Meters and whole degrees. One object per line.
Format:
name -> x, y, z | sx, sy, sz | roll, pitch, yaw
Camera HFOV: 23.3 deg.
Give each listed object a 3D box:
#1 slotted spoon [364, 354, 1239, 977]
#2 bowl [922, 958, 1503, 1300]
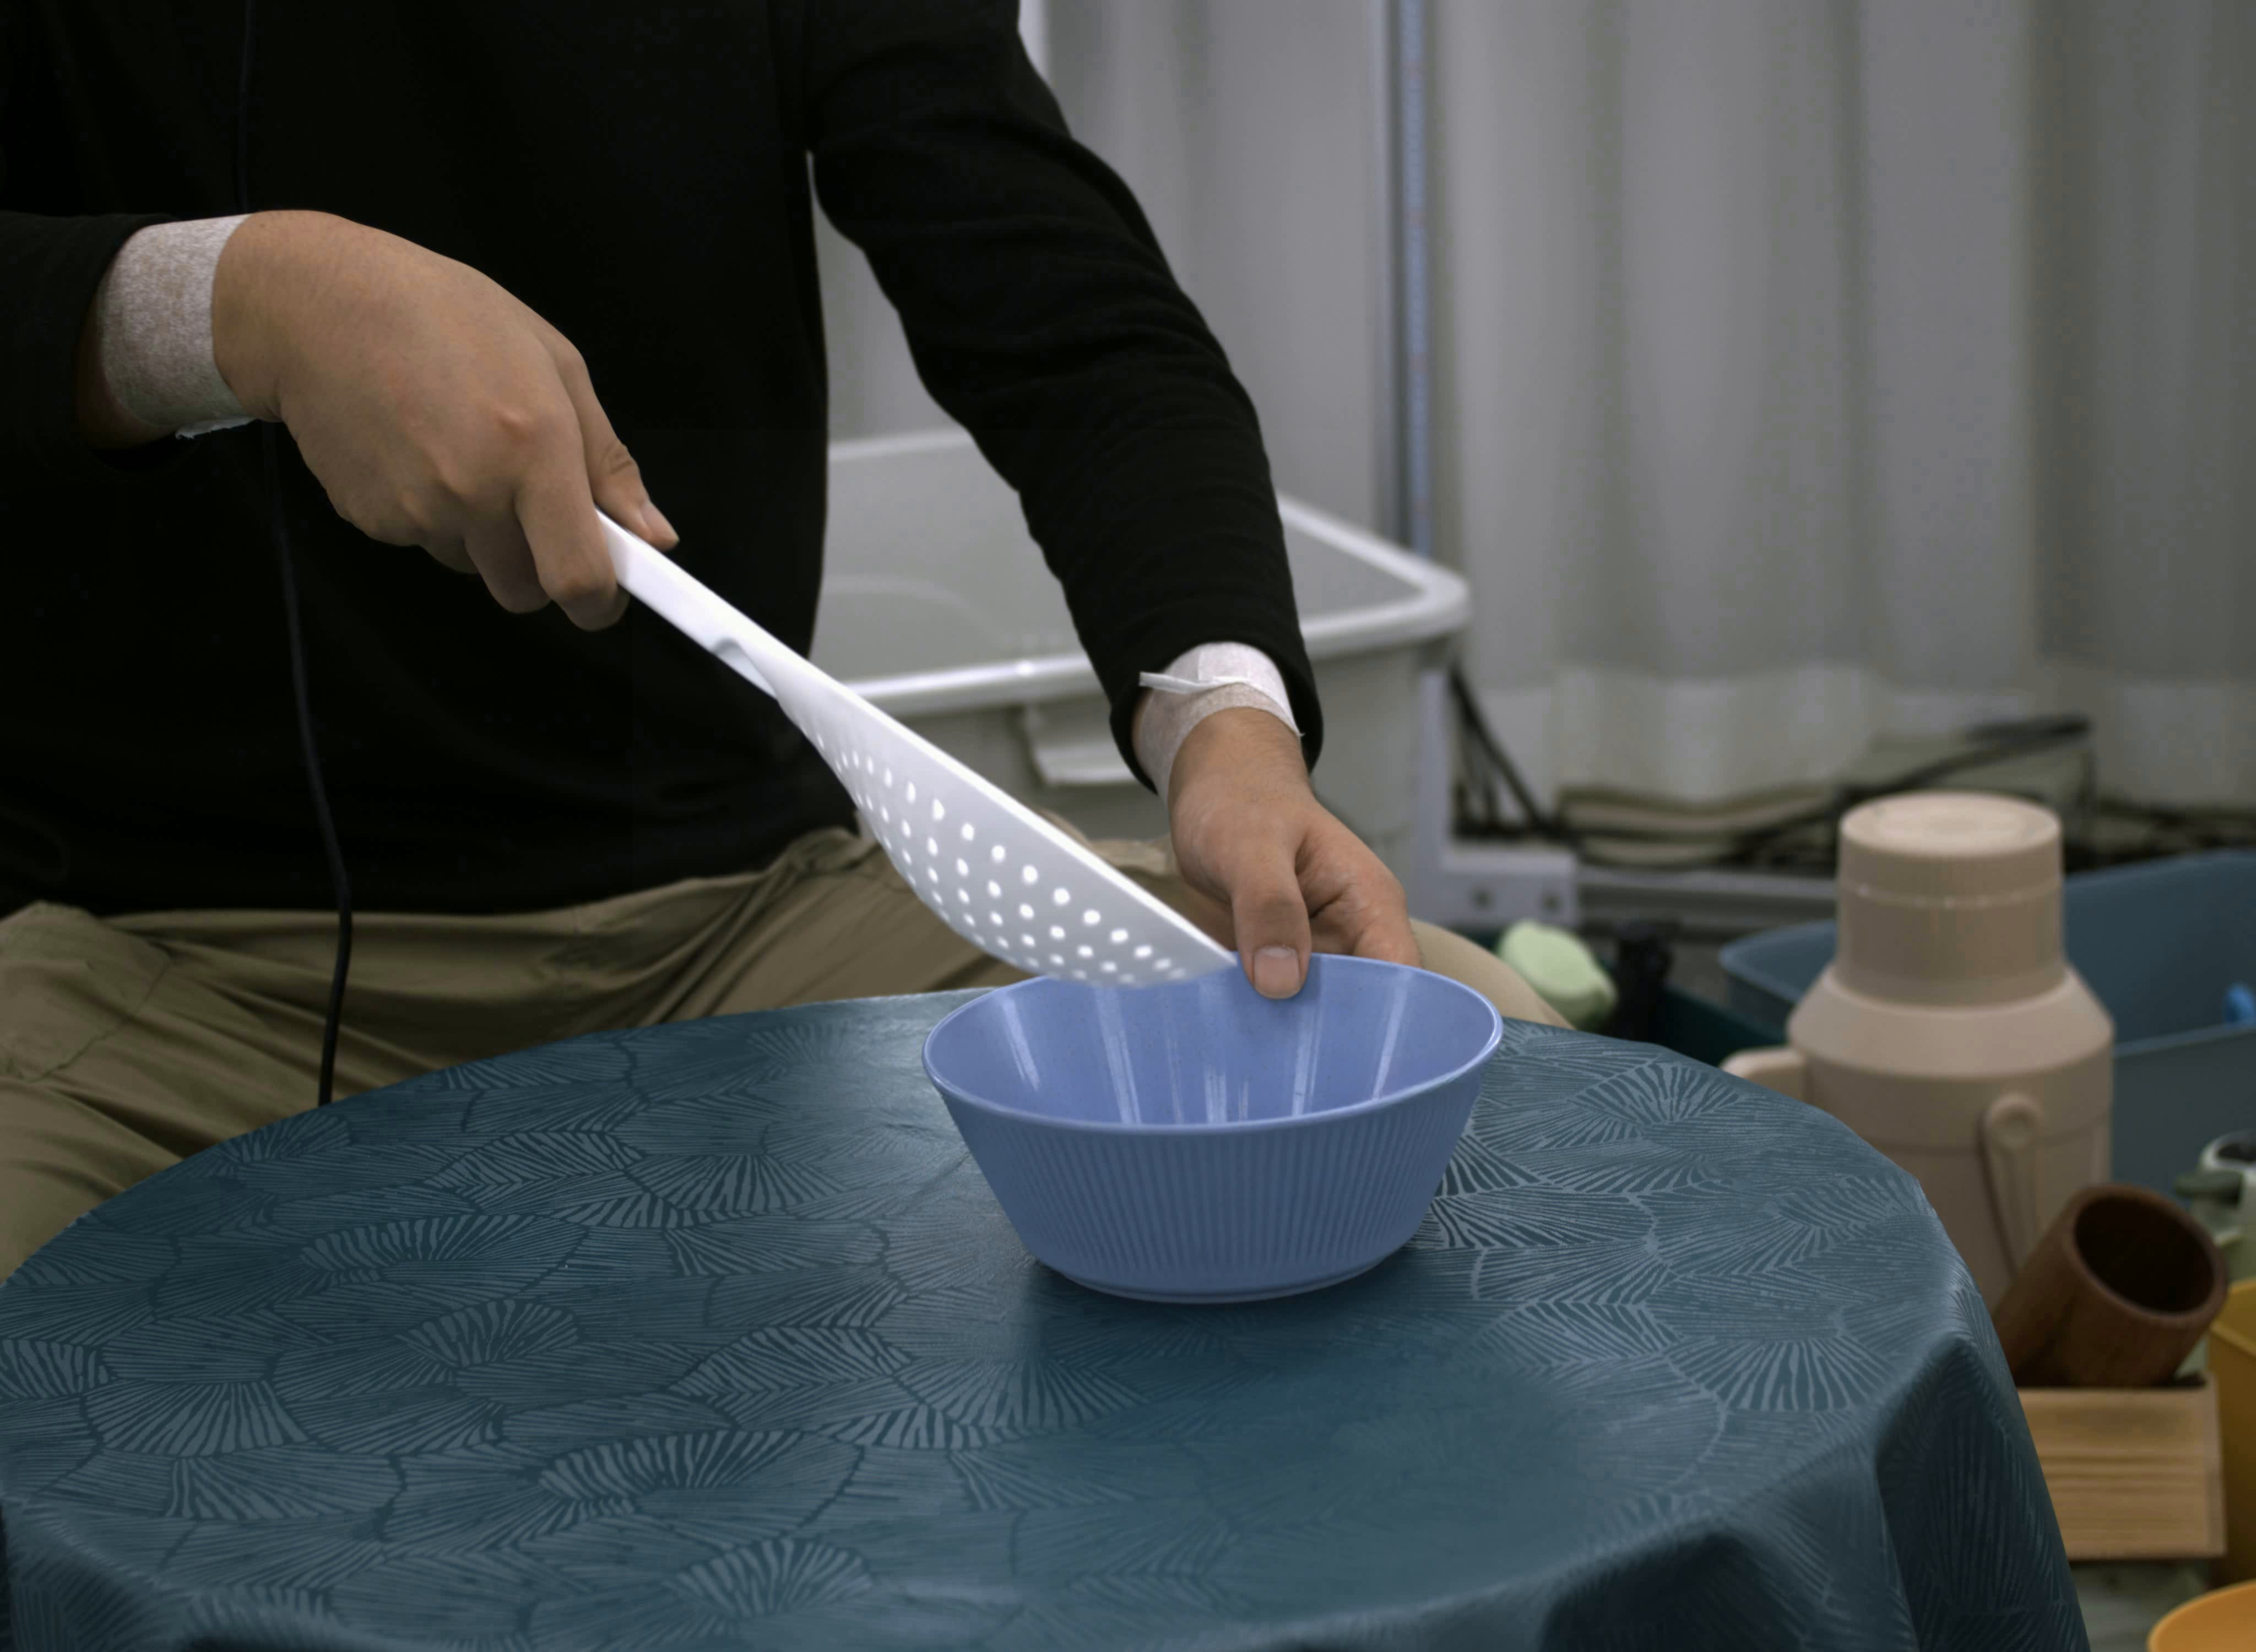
slotted spoon -> -0.106, -0.052, 1.633 | 0.353, 0.046, 0.134 | 40, 3, 28
bowl -> 0.027, 0.094, 1.653 | 0.175, 0.070, 0.177 | -3, 14, 0
